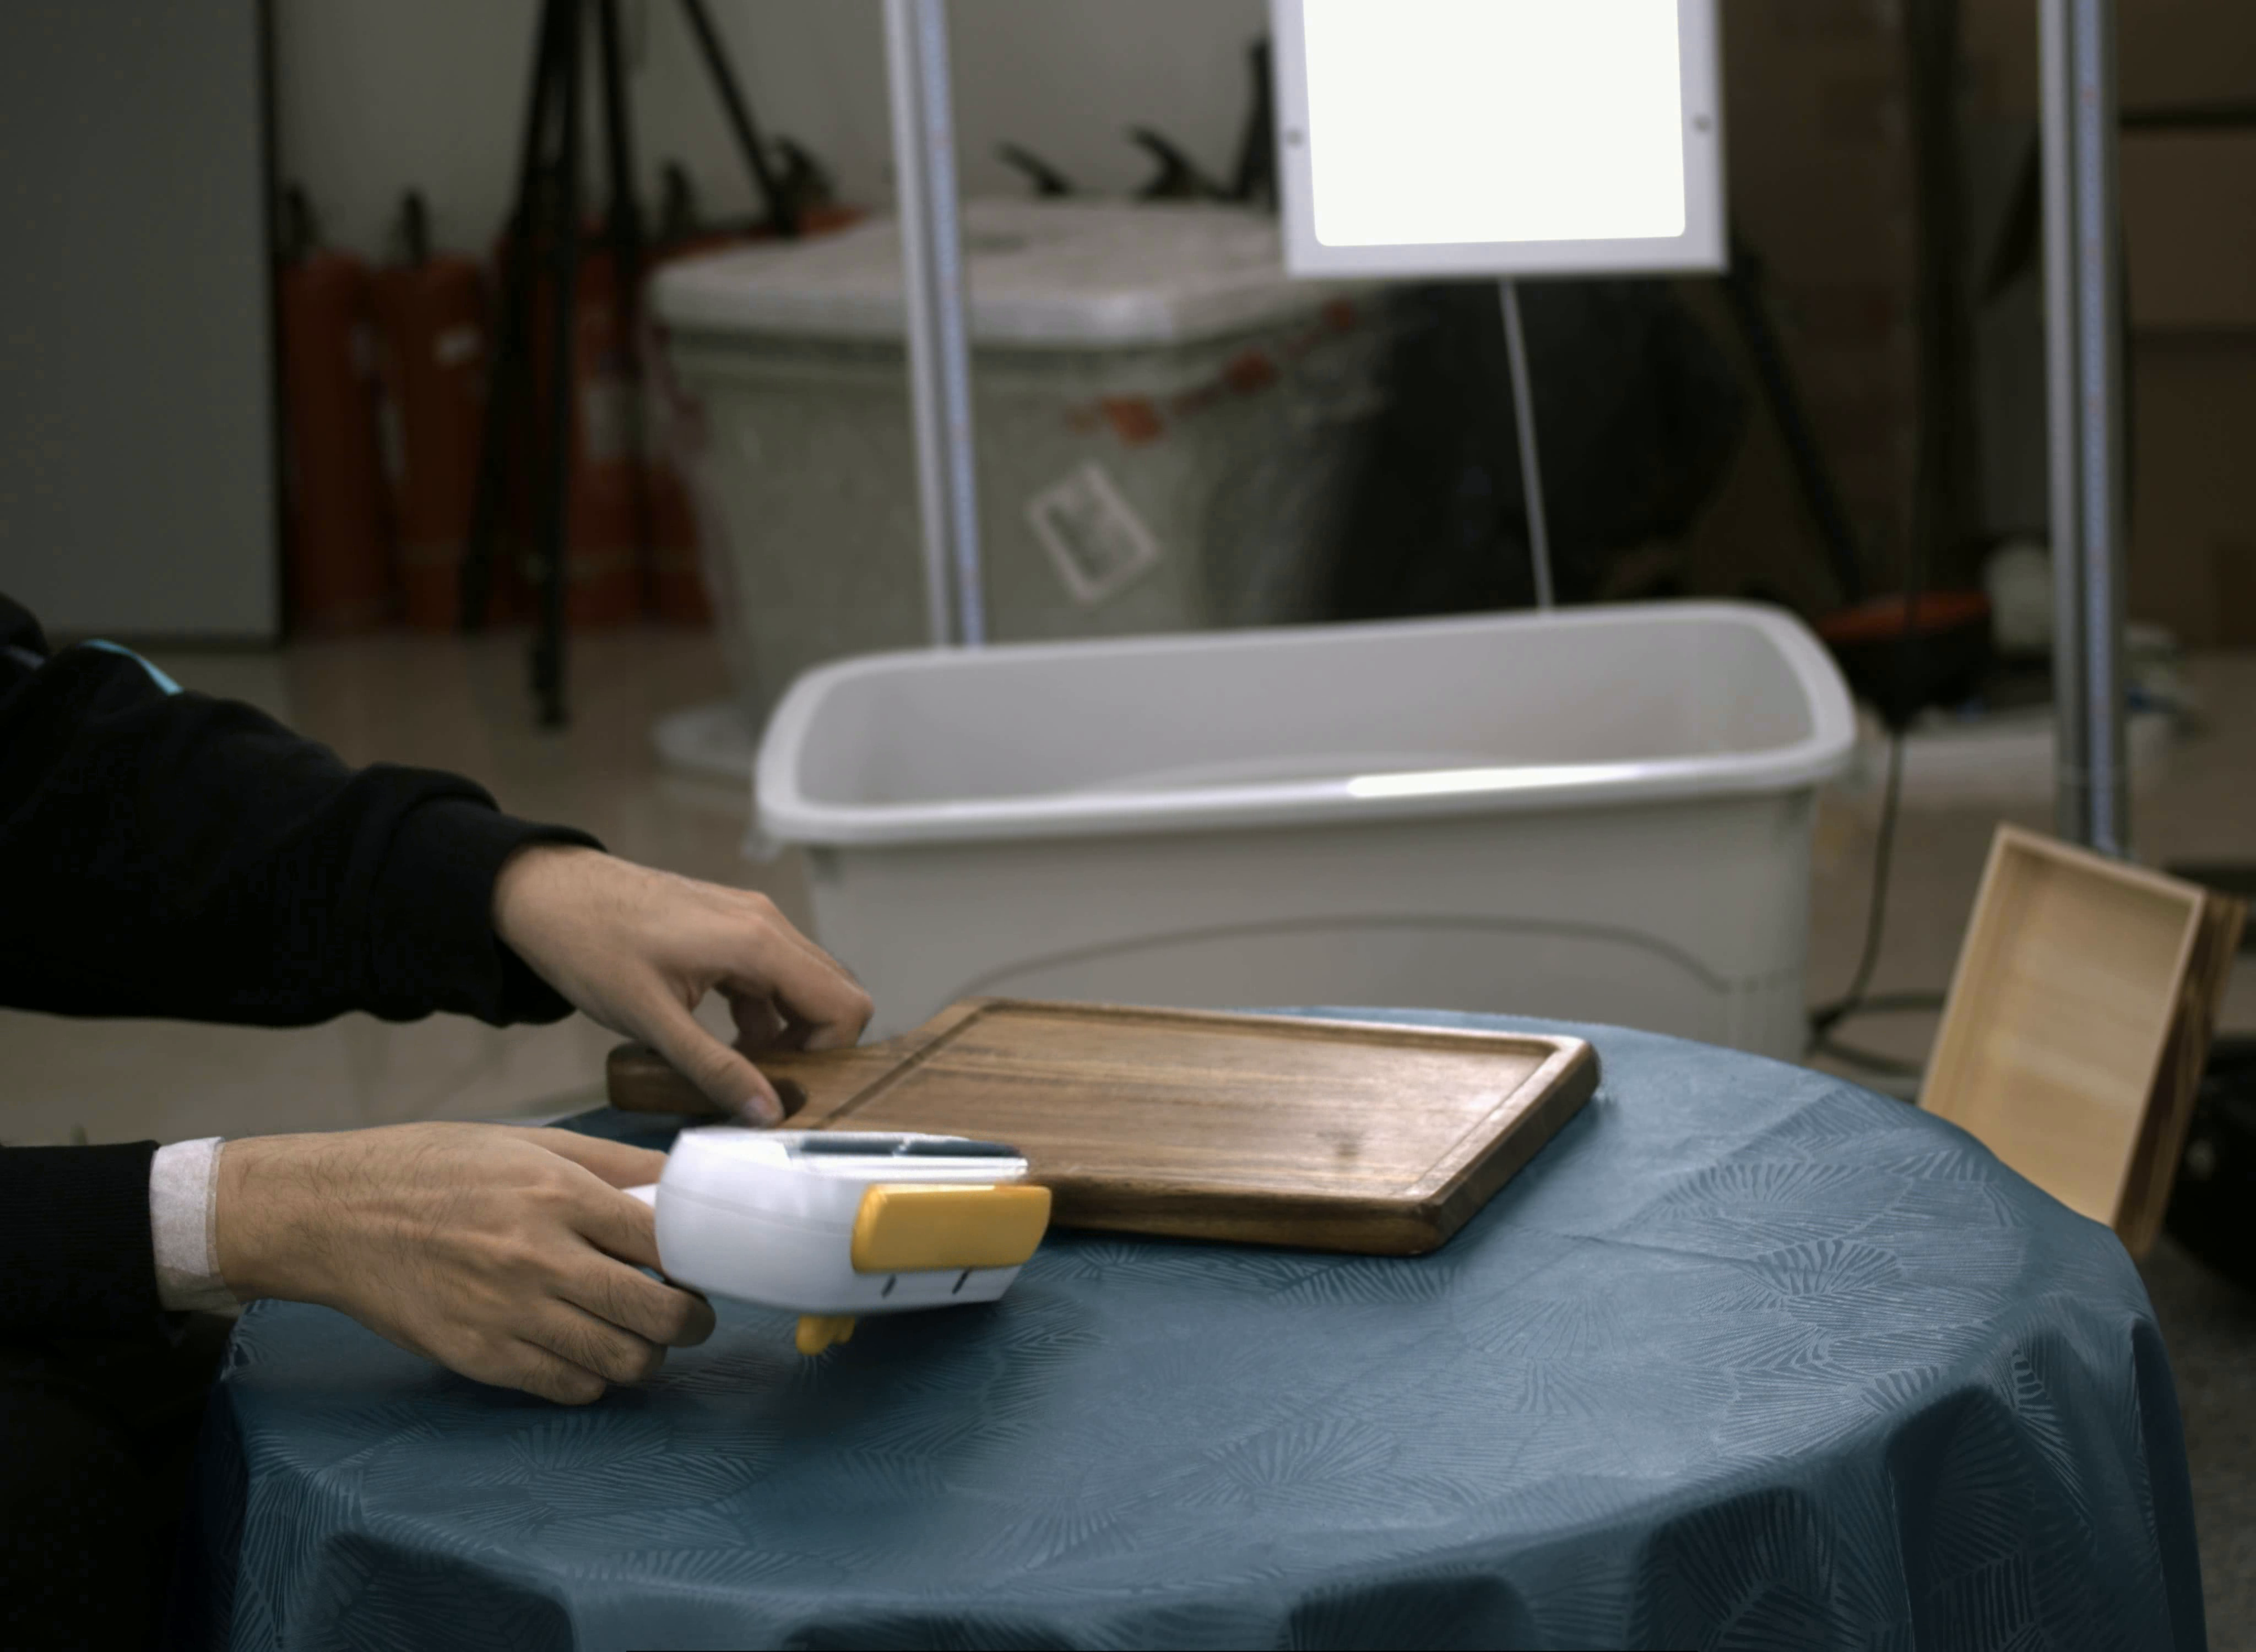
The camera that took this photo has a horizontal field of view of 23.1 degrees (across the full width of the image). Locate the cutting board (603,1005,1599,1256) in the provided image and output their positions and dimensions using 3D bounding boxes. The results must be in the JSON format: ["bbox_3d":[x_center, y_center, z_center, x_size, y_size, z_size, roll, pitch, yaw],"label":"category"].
[{"bbox_3d":[-0.025,0.102,1.947,0.357,0.023,0.197,2,15,23],"label":"cutting board"}]

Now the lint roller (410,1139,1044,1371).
[{"bbox_3d":[-0.142,0.130,1.751,0.195,0.074,0.189,3,3,26],"label":"lint roller"}]
